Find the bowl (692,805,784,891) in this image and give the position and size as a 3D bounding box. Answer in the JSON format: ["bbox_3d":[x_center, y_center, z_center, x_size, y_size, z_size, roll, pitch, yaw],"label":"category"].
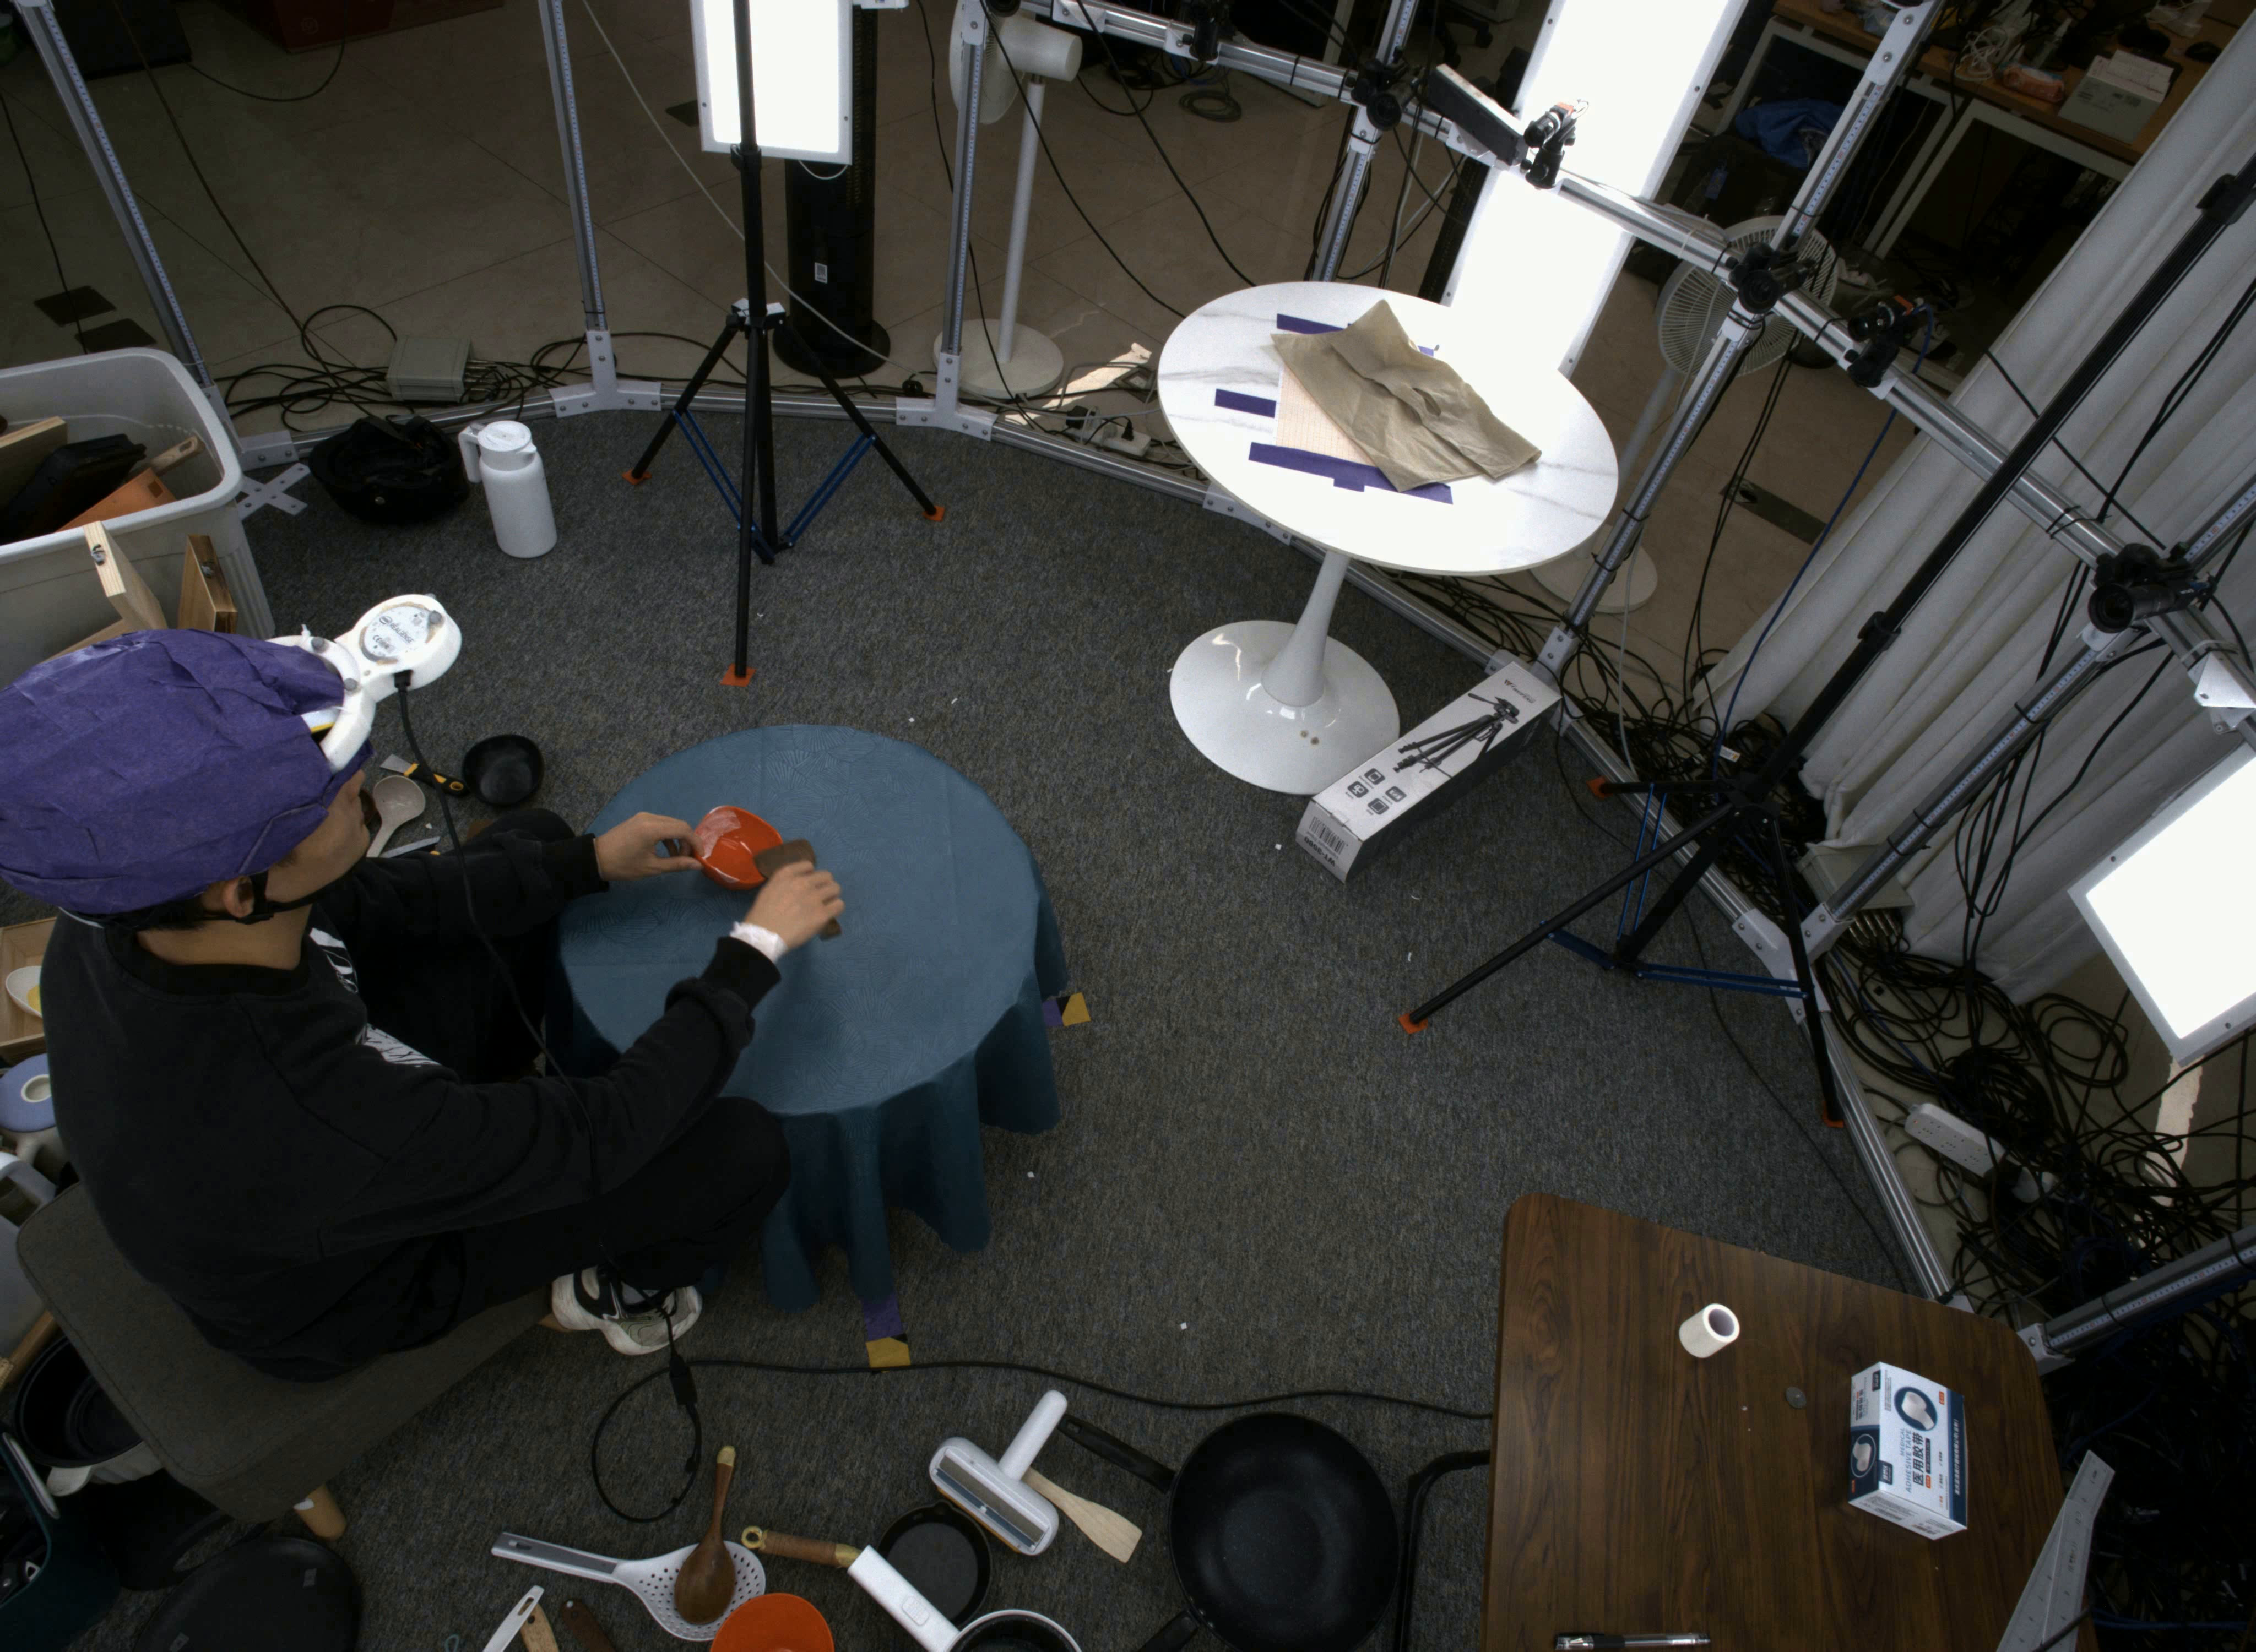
[{"bbox_3d":[-0.500,0.035,1.637,0.121,0.051,0.116,24,44,-23],"label":"bowl"}]

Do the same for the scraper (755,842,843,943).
[{"bbox_3d":[-0.384,0.079,1.549,0.076,0.011,0.203,-17,37,-24],"label":"scraper"}]
